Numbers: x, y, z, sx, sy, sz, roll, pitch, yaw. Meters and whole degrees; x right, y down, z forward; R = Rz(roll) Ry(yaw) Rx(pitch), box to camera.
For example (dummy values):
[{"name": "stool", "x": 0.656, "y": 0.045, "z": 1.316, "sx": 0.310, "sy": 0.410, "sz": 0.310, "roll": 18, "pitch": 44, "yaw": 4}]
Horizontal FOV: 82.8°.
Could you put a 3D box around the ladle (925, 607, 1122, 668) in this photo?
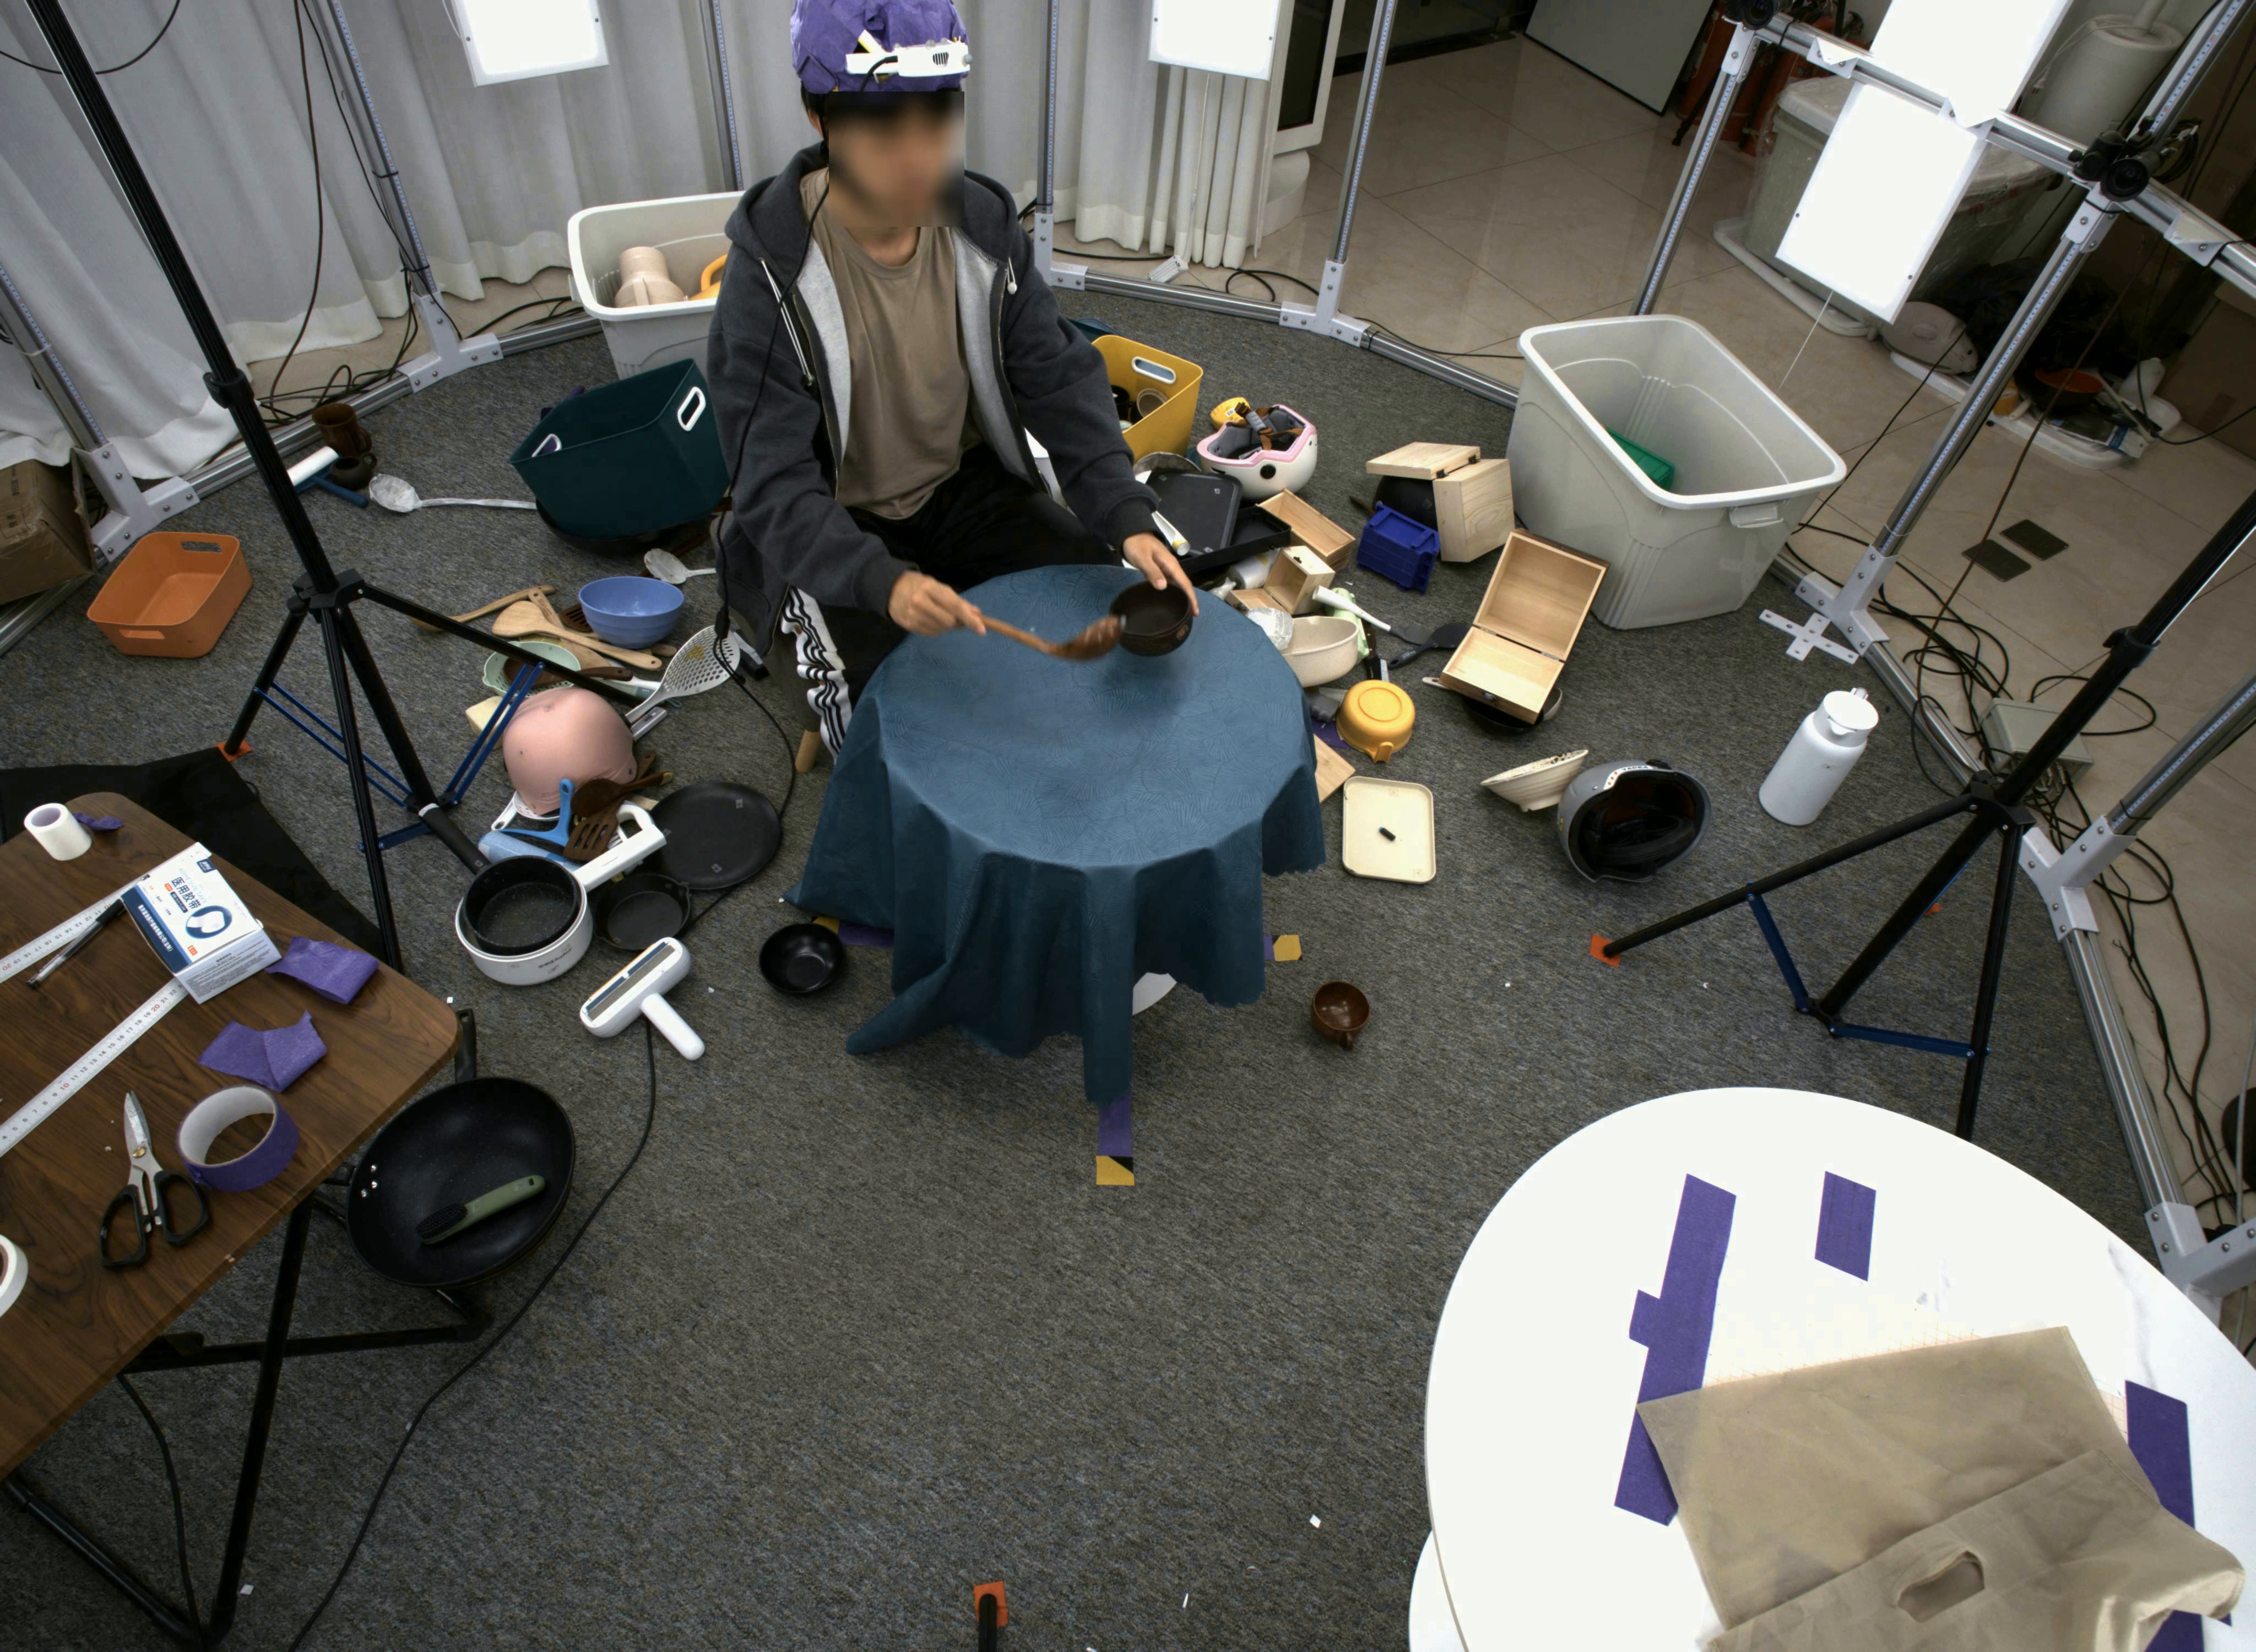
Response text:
[{"name": "ladle", "x": -0.138, "y": -0.271, "z": 1.683, "sx": 0.276, "sy": 0.081, "sz": 0.076, "roll": 22, "pitch": 93, "yaw": 19}]

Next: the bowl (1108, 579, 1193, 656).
[{"name": "bowl", "x": 0.035, "y": -0.287, "z": 1.820, "sx": 0.118, "sy": 0.068, "sz": 0.121, "roll": -6, "pitch": 48, "yaw": 7}]
